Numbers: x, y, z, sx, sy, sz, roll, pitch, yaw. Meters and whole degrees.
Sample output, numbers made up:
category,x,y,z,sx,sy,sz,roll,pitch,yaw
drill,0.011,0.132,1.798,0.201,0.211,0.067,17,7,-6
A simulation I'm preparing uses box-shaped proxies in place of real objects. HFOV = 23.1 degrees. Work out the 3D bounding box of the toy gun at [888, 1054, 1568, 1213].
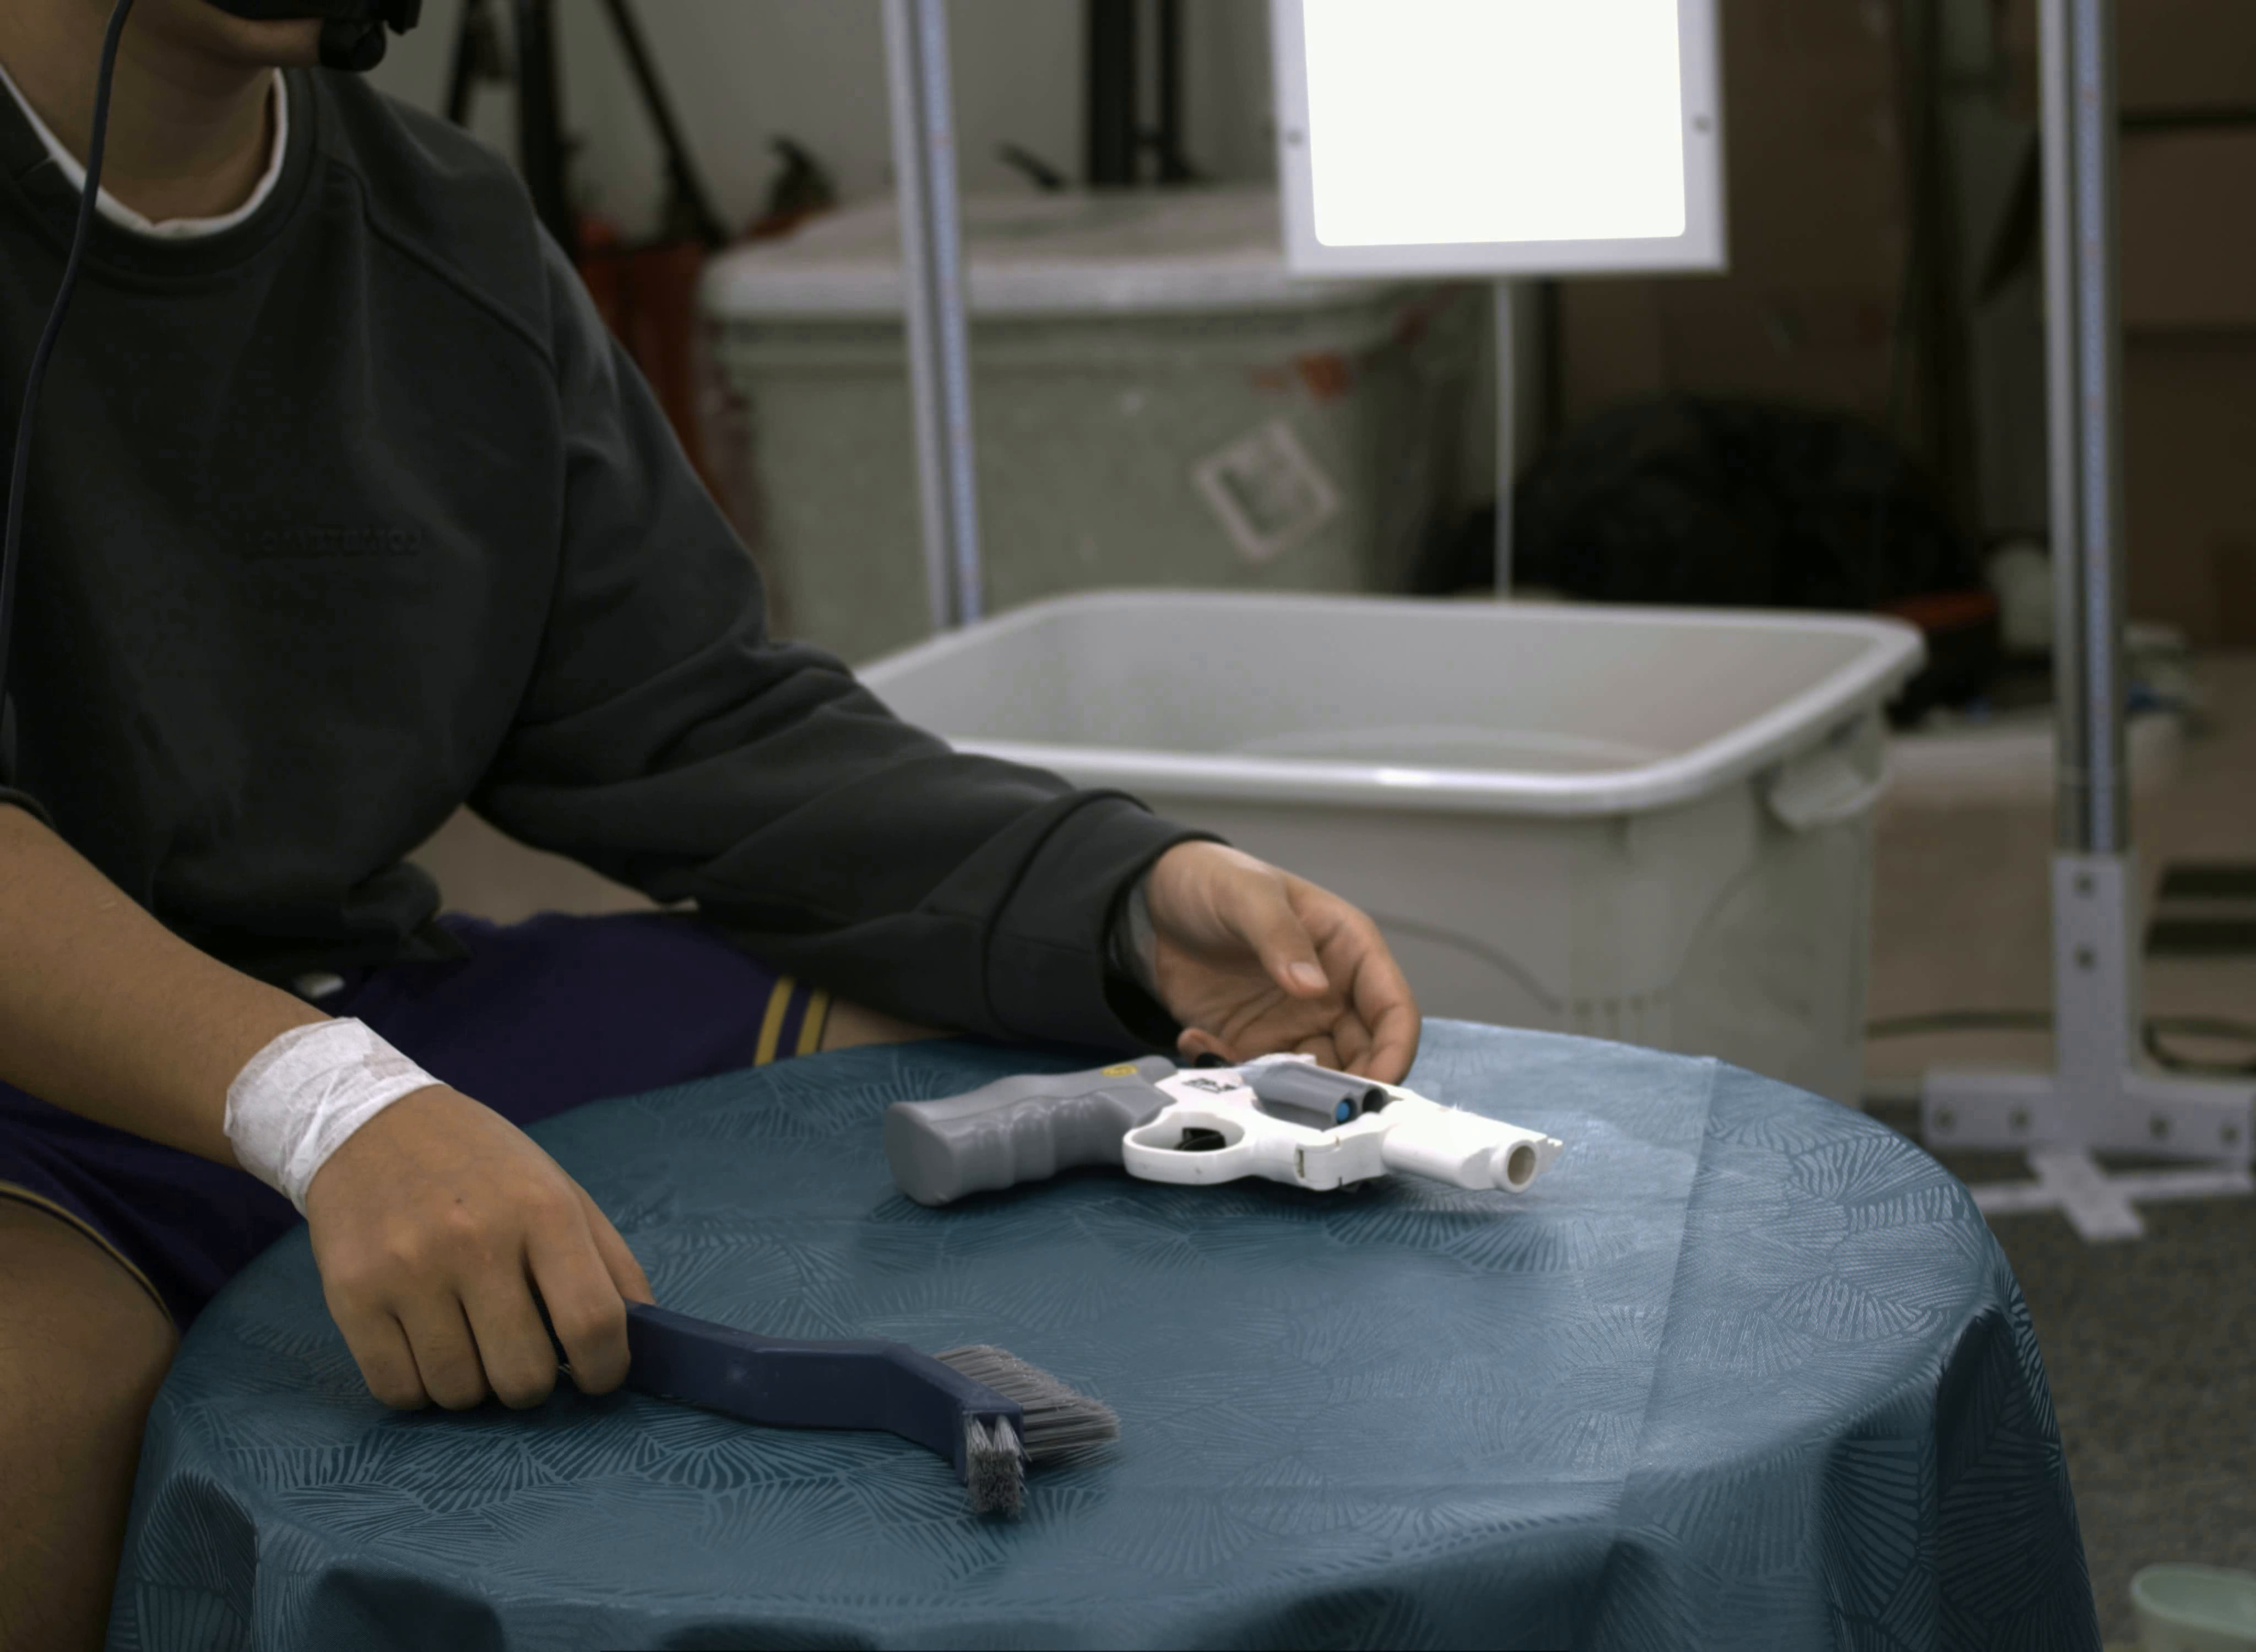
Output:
category,x,y,z,sx,sy,sz,roll,pitch,yaw
toy gun,0.030,0.109,1.879,0.138,0.039,0.213,-18,19,-38

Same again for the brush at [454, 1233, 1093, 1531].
category,x,y,z,sx,sy,sz,roll,pitch,yaw
brush,-0.127,0.168,1.706,0.279,0.033,0.093,6,18,38
